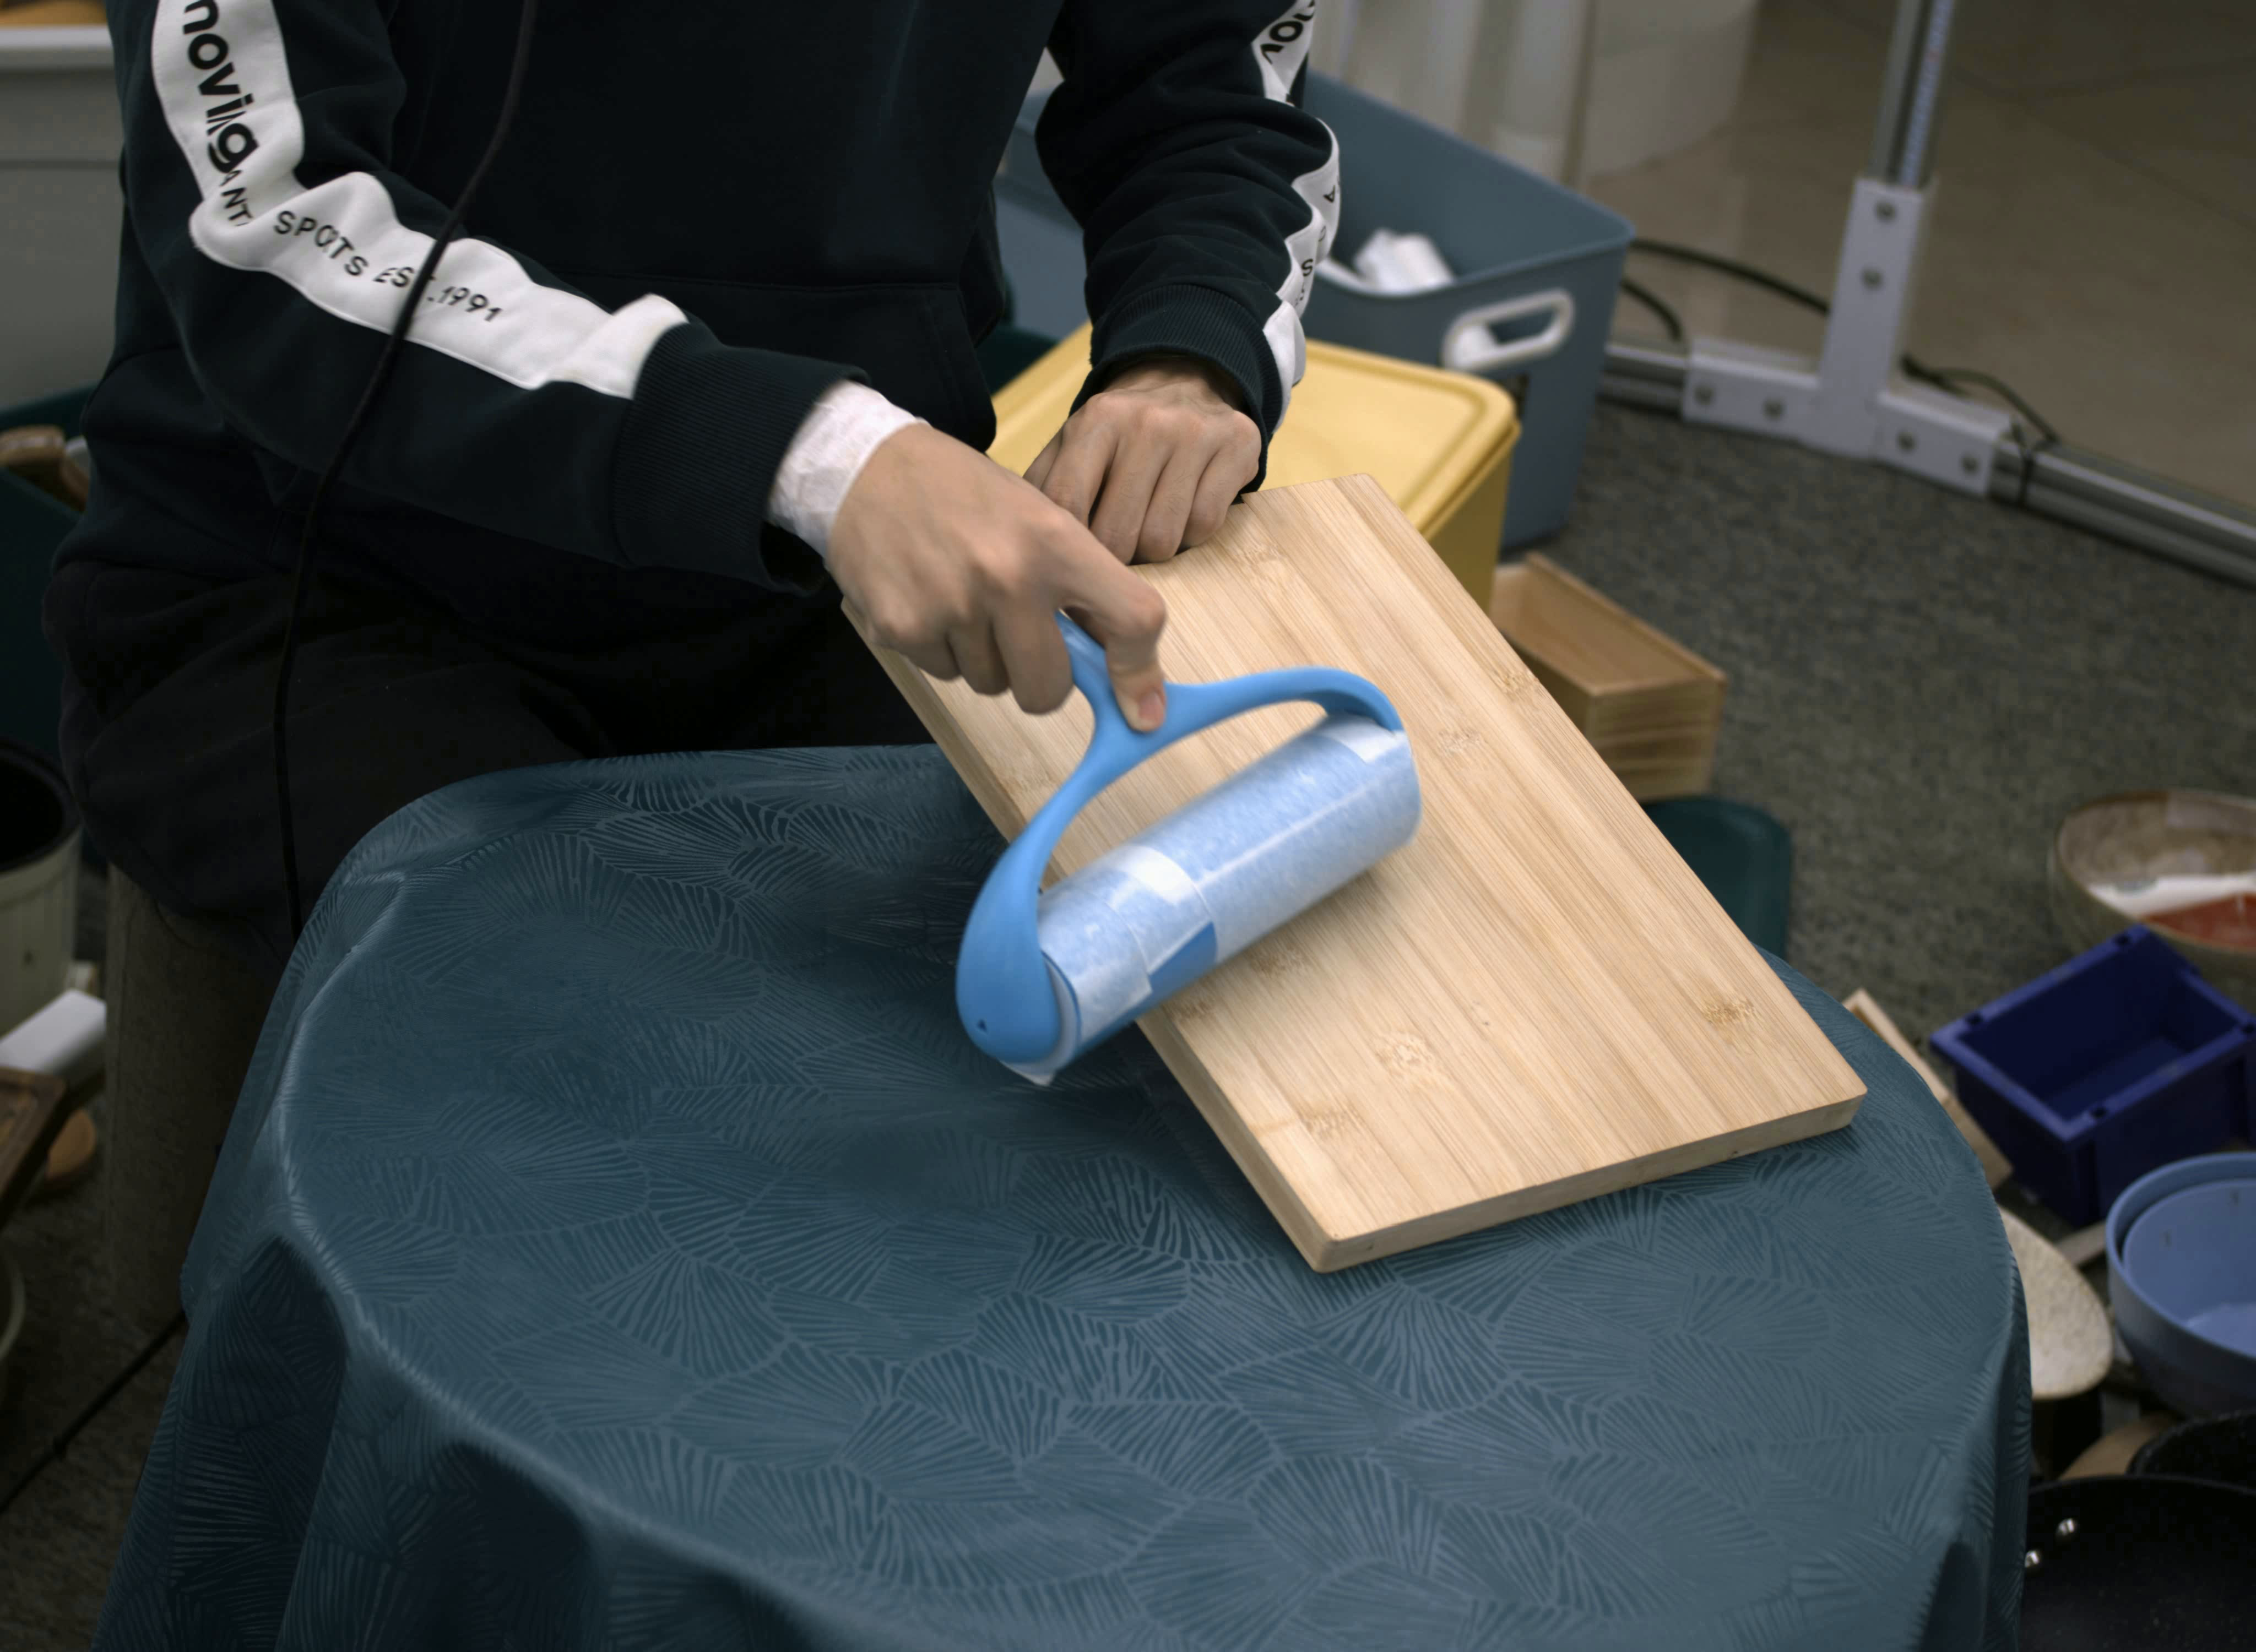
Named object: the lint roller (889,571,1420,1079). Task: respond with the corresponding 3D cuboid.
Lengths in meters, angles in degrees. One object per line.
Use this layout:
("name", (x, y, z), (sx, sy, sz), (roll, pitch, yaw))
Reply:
("lint roller", (-0.013, -0.025, 1.826), (0.180, 0.068, 0.228), (51, 48, 4))

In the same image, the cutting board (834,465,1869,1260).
("cutting board", (0.076, 0.005, 1.918), (0.249, 0.023, 0.352), (-13, 50, -33))
